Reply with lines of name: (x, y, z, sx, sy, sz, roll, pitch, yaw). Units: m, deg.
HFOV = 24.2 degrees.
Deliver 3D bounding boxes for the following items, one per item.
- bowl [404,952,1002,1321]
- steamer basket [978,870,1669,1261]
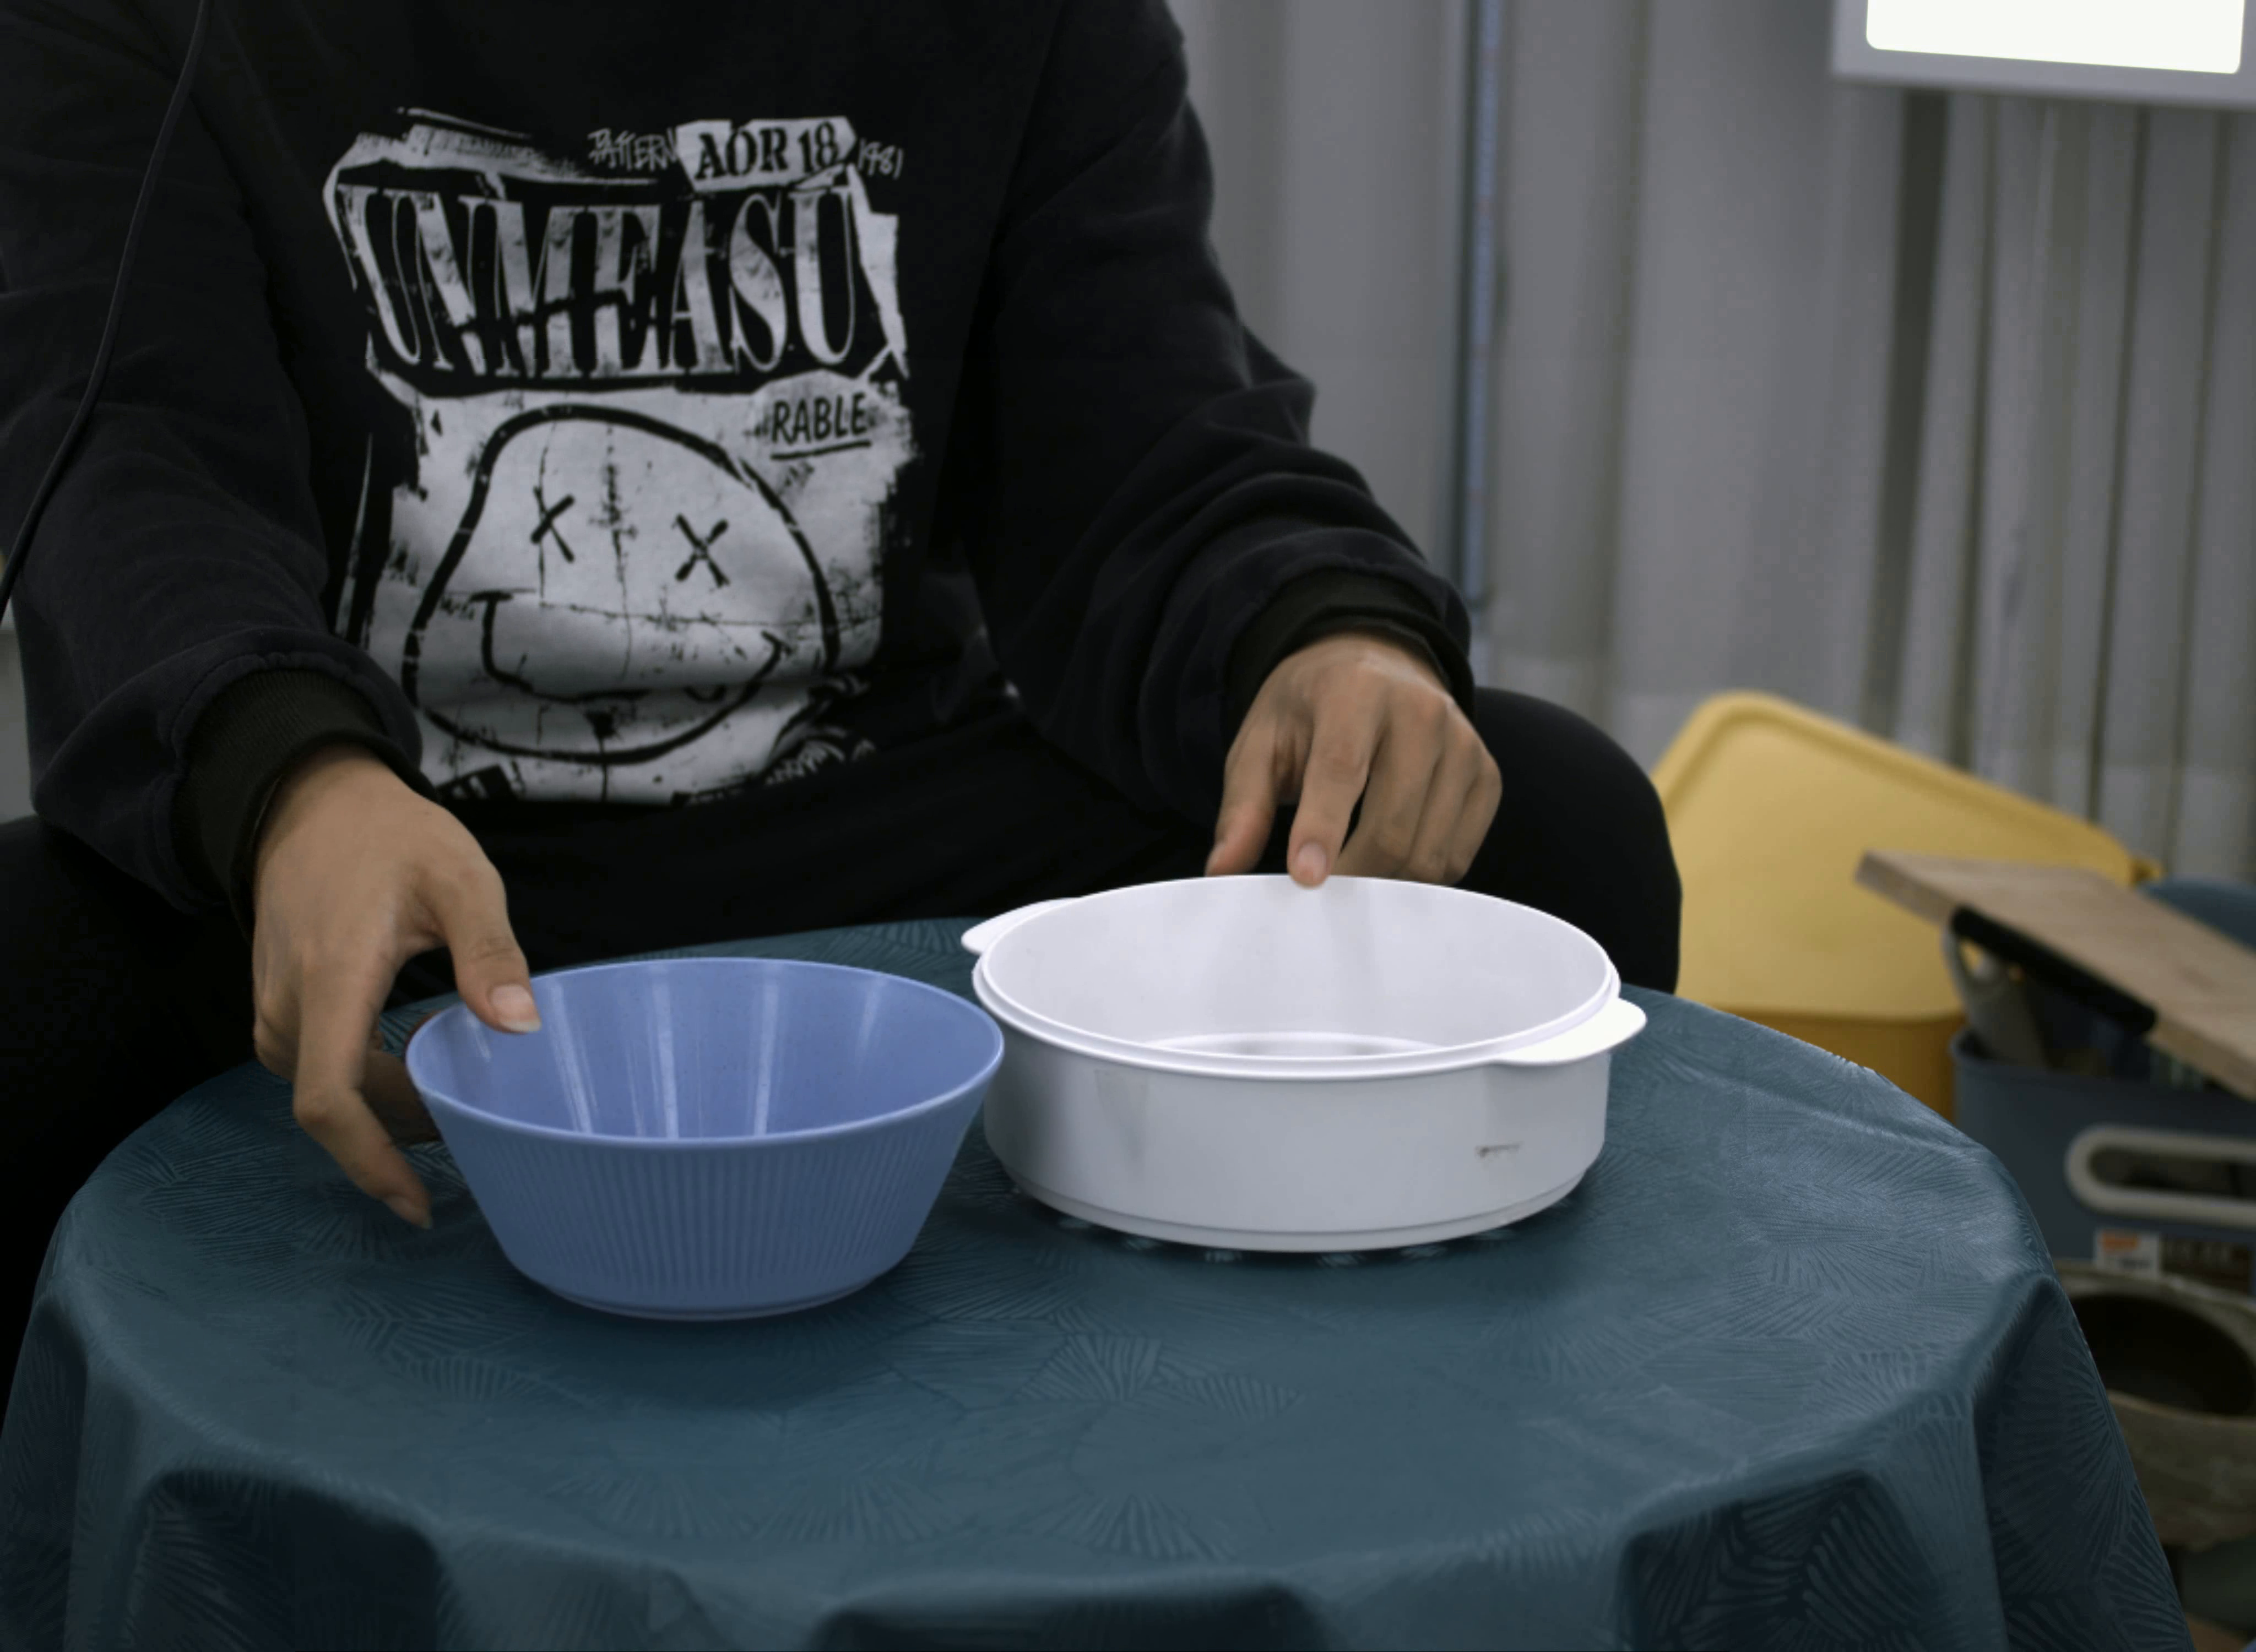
bowl: (-0.125, 0.094, 1.555, 0.175, 0.071, 0.175, 1, 17, 0)
steamer basket: (0.057, 0.074, 1.639, 0.228, 0.070, 0.202, 13, 20, 31)
